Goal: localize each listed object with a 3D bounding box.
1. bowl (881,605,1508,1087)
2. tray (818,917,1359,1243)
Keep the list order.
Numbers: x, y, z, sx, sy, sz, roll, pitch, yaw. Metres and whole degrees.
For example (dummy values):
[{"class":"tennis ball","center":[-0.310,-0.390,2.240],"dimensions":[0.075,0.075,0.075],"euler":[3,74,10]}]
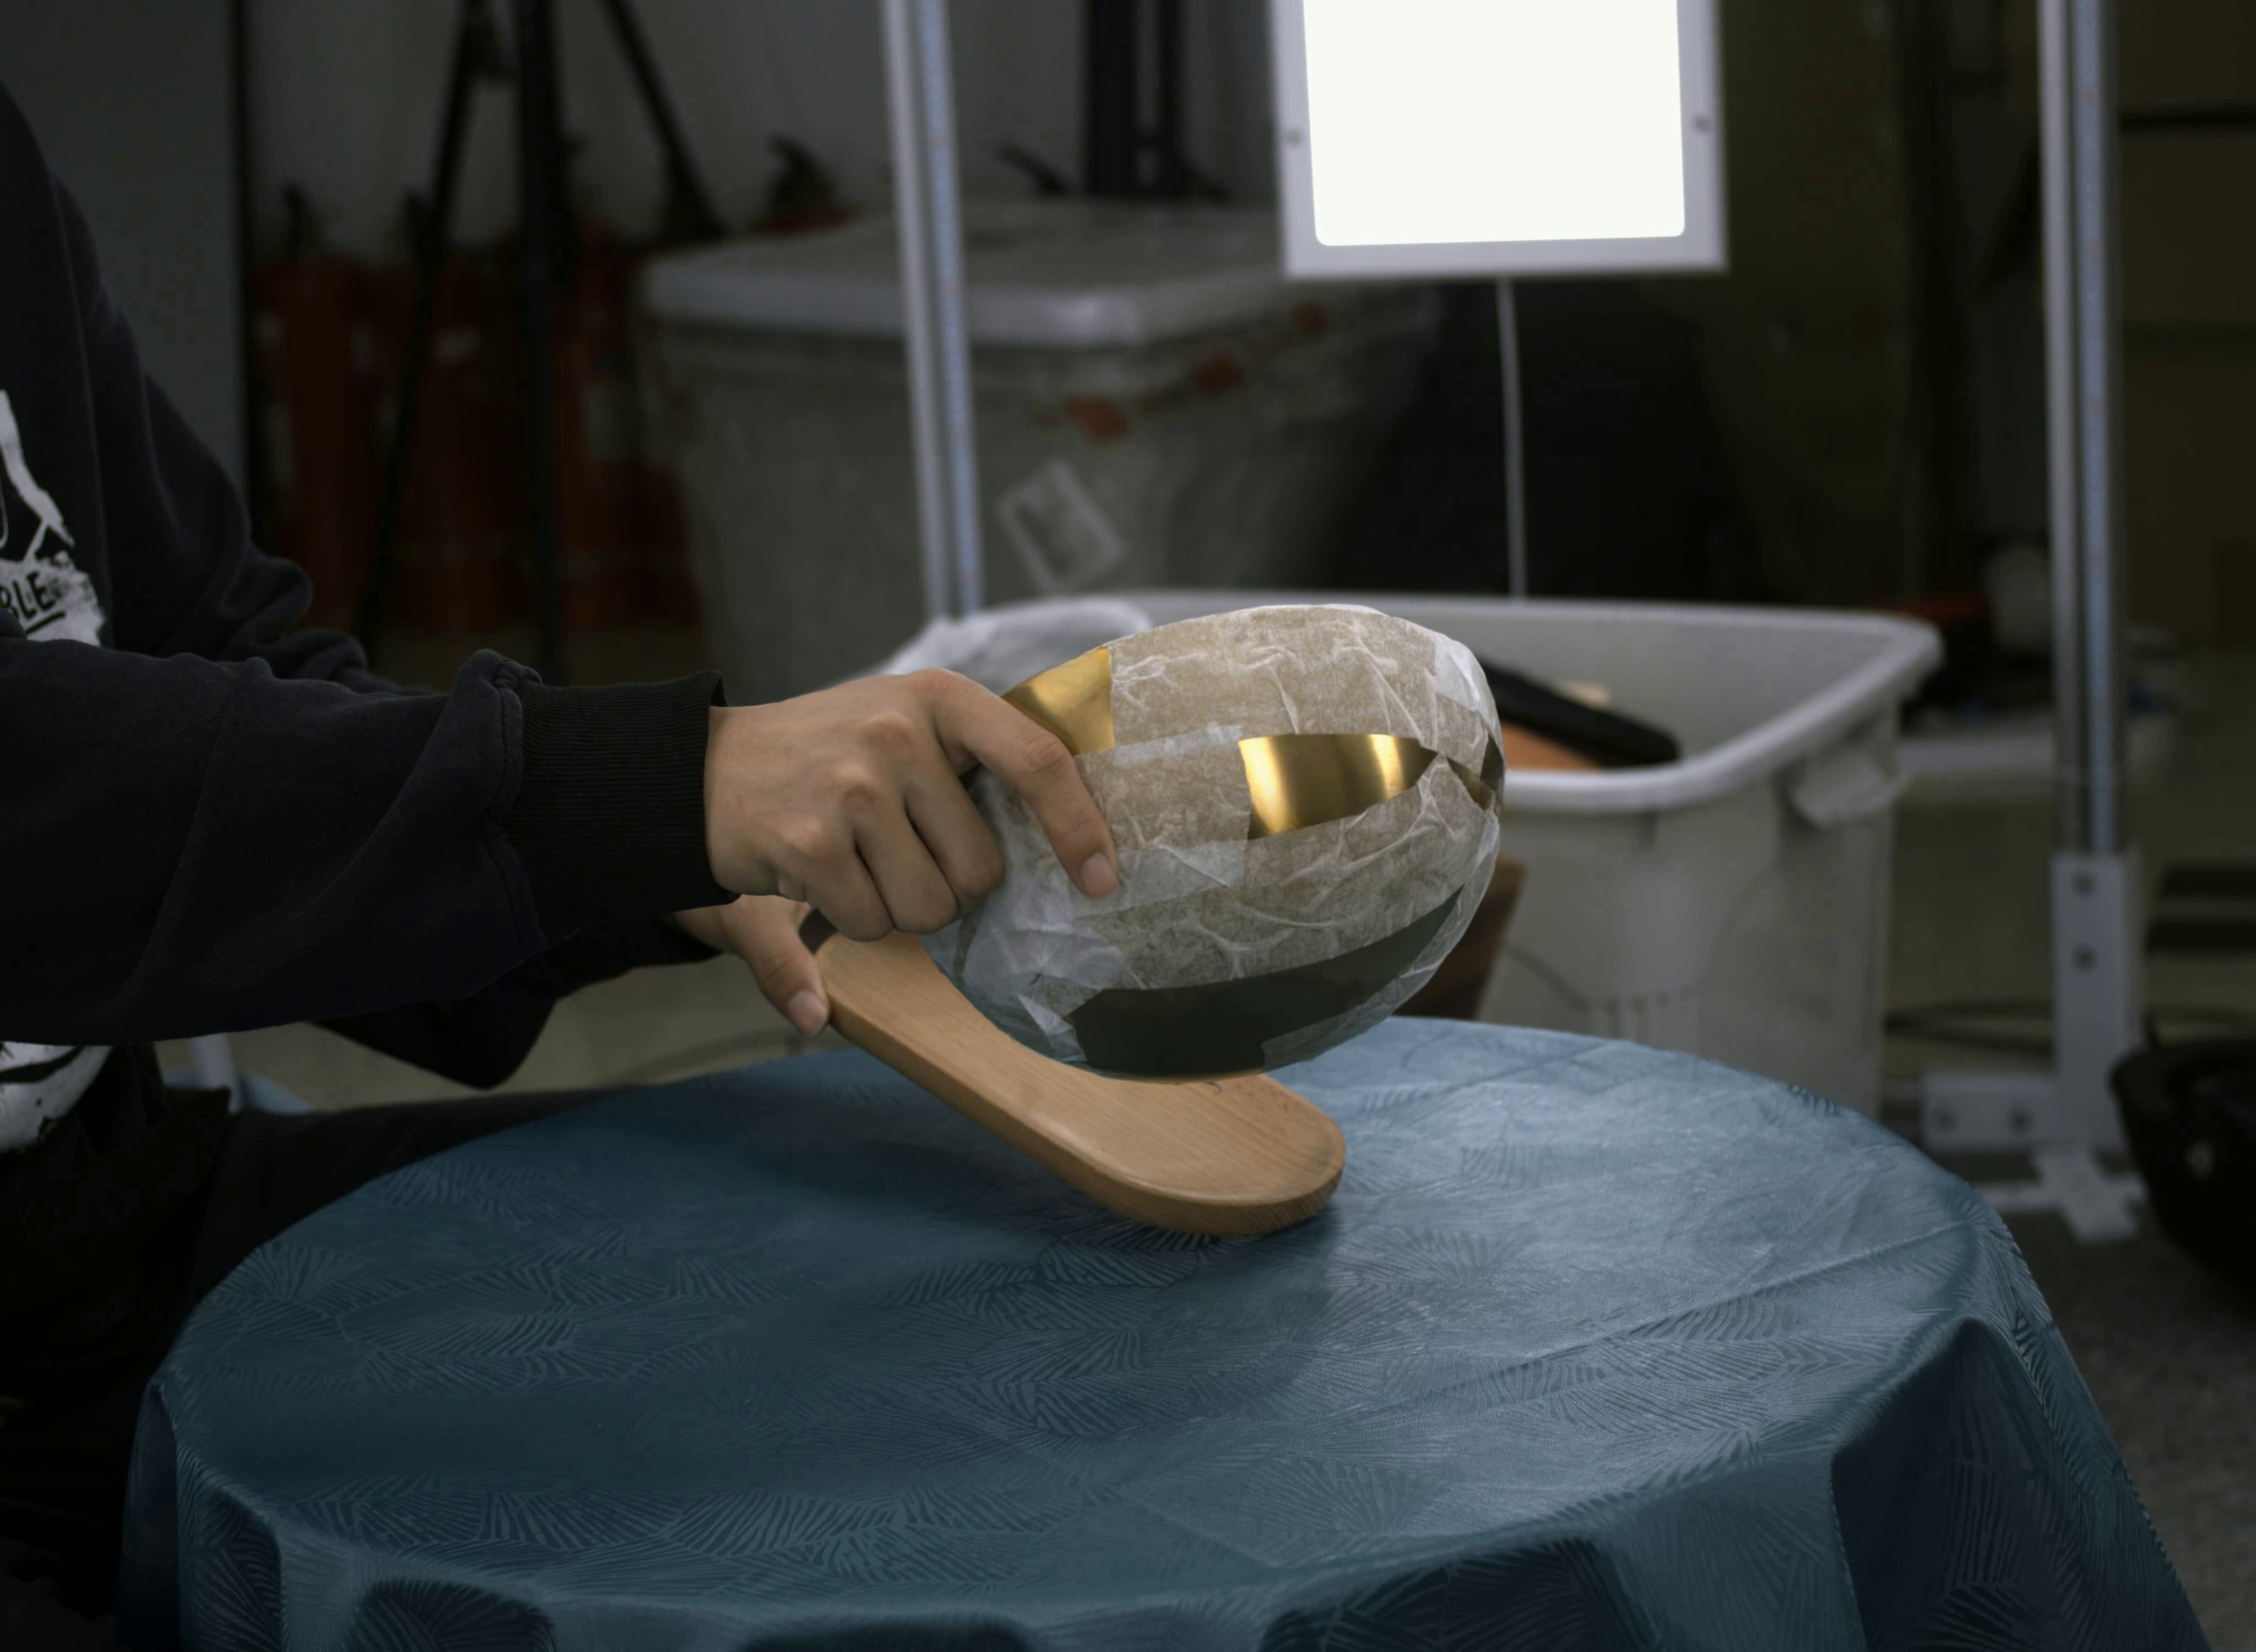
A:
[{"class":"bowl","center":[0.030,0.025,1.741],"dimensions":[0.213,0.095,0.216],"euler":[-11,-29,-7]},{"class":"tray","center":[-0.016,0.086,1.914],"dimensions":[0.099,0.020,0.235],"euler":[-18,36,-39]}]
